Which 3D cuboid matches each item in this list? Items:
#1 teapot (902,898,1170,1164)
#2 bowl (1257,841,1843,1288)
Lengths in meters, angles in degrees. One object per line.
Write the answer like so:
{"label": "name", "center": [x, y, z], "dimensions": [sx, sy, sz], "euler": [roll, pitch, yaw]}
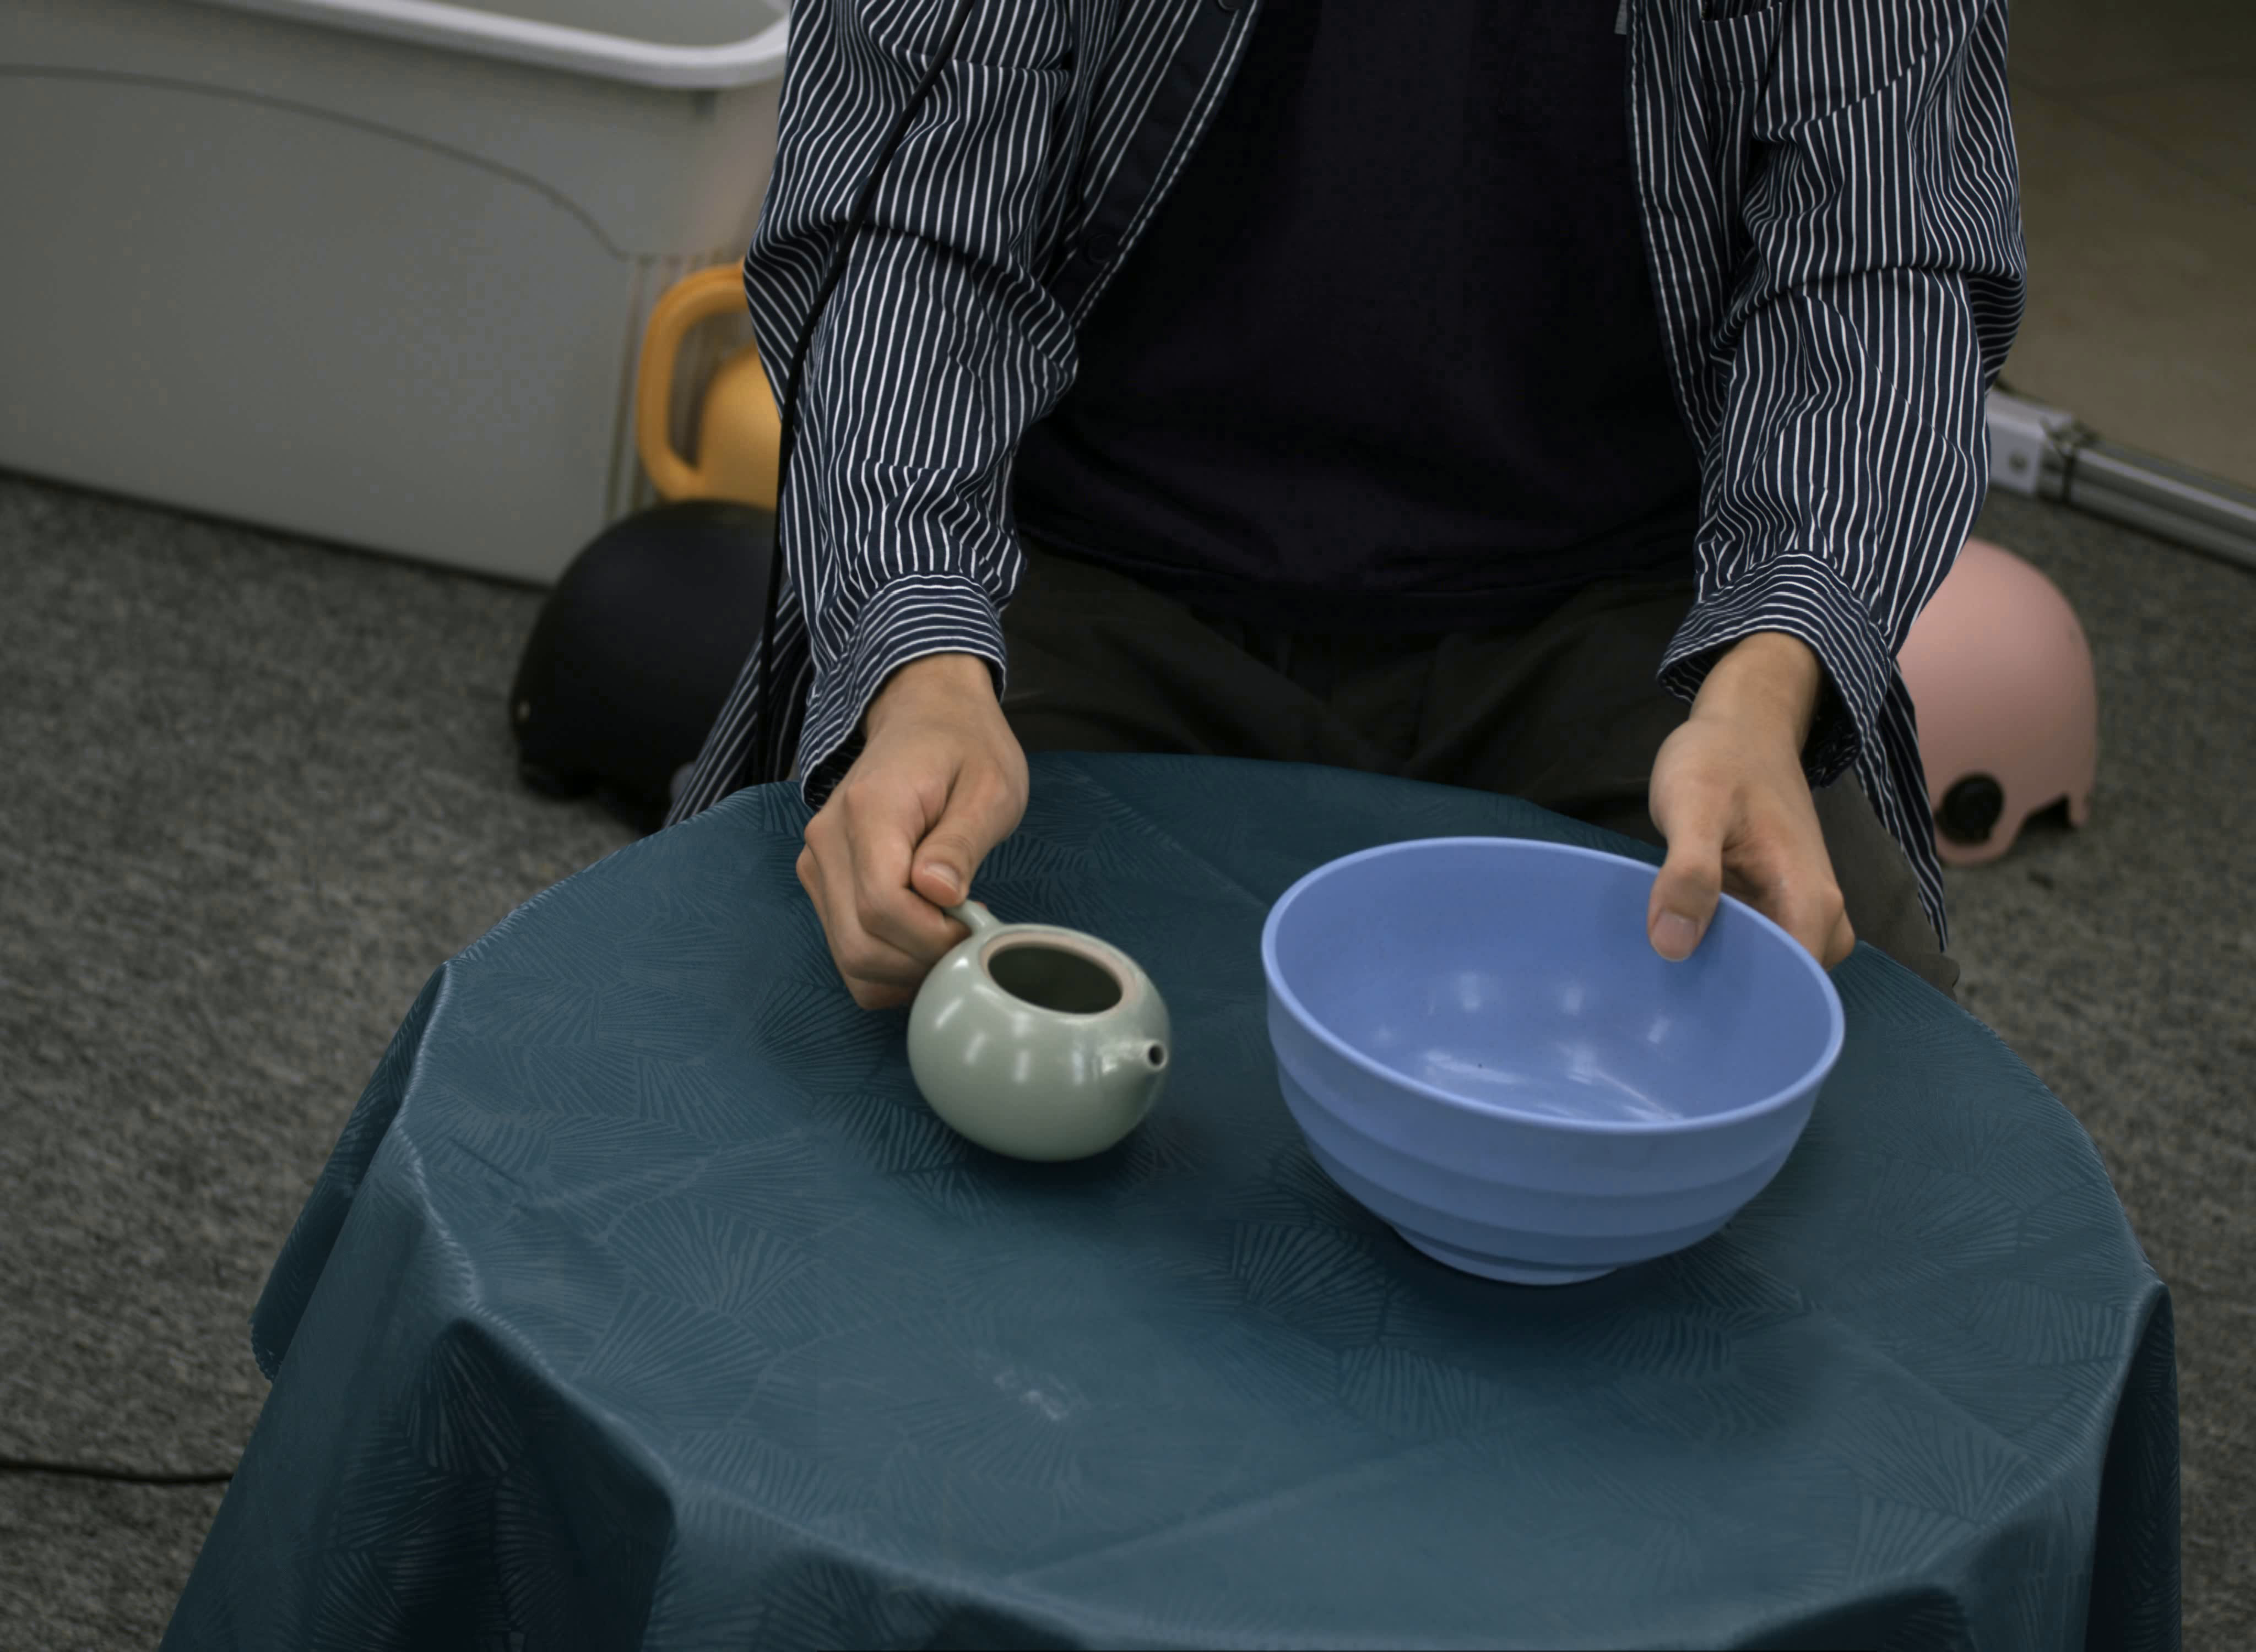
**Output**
{"label": "teapot", "center": [-0.037, 0.070, 1.814], "dimensions": [0.091, 0.061, 0.129], "euler": [-10, 34, -36]}
{"label": "bowl", "center": [0.135, 0.091, 1.786], "dimensions": [0.196, 0.095, 0.197], "euler": [5, 27, -3]}
